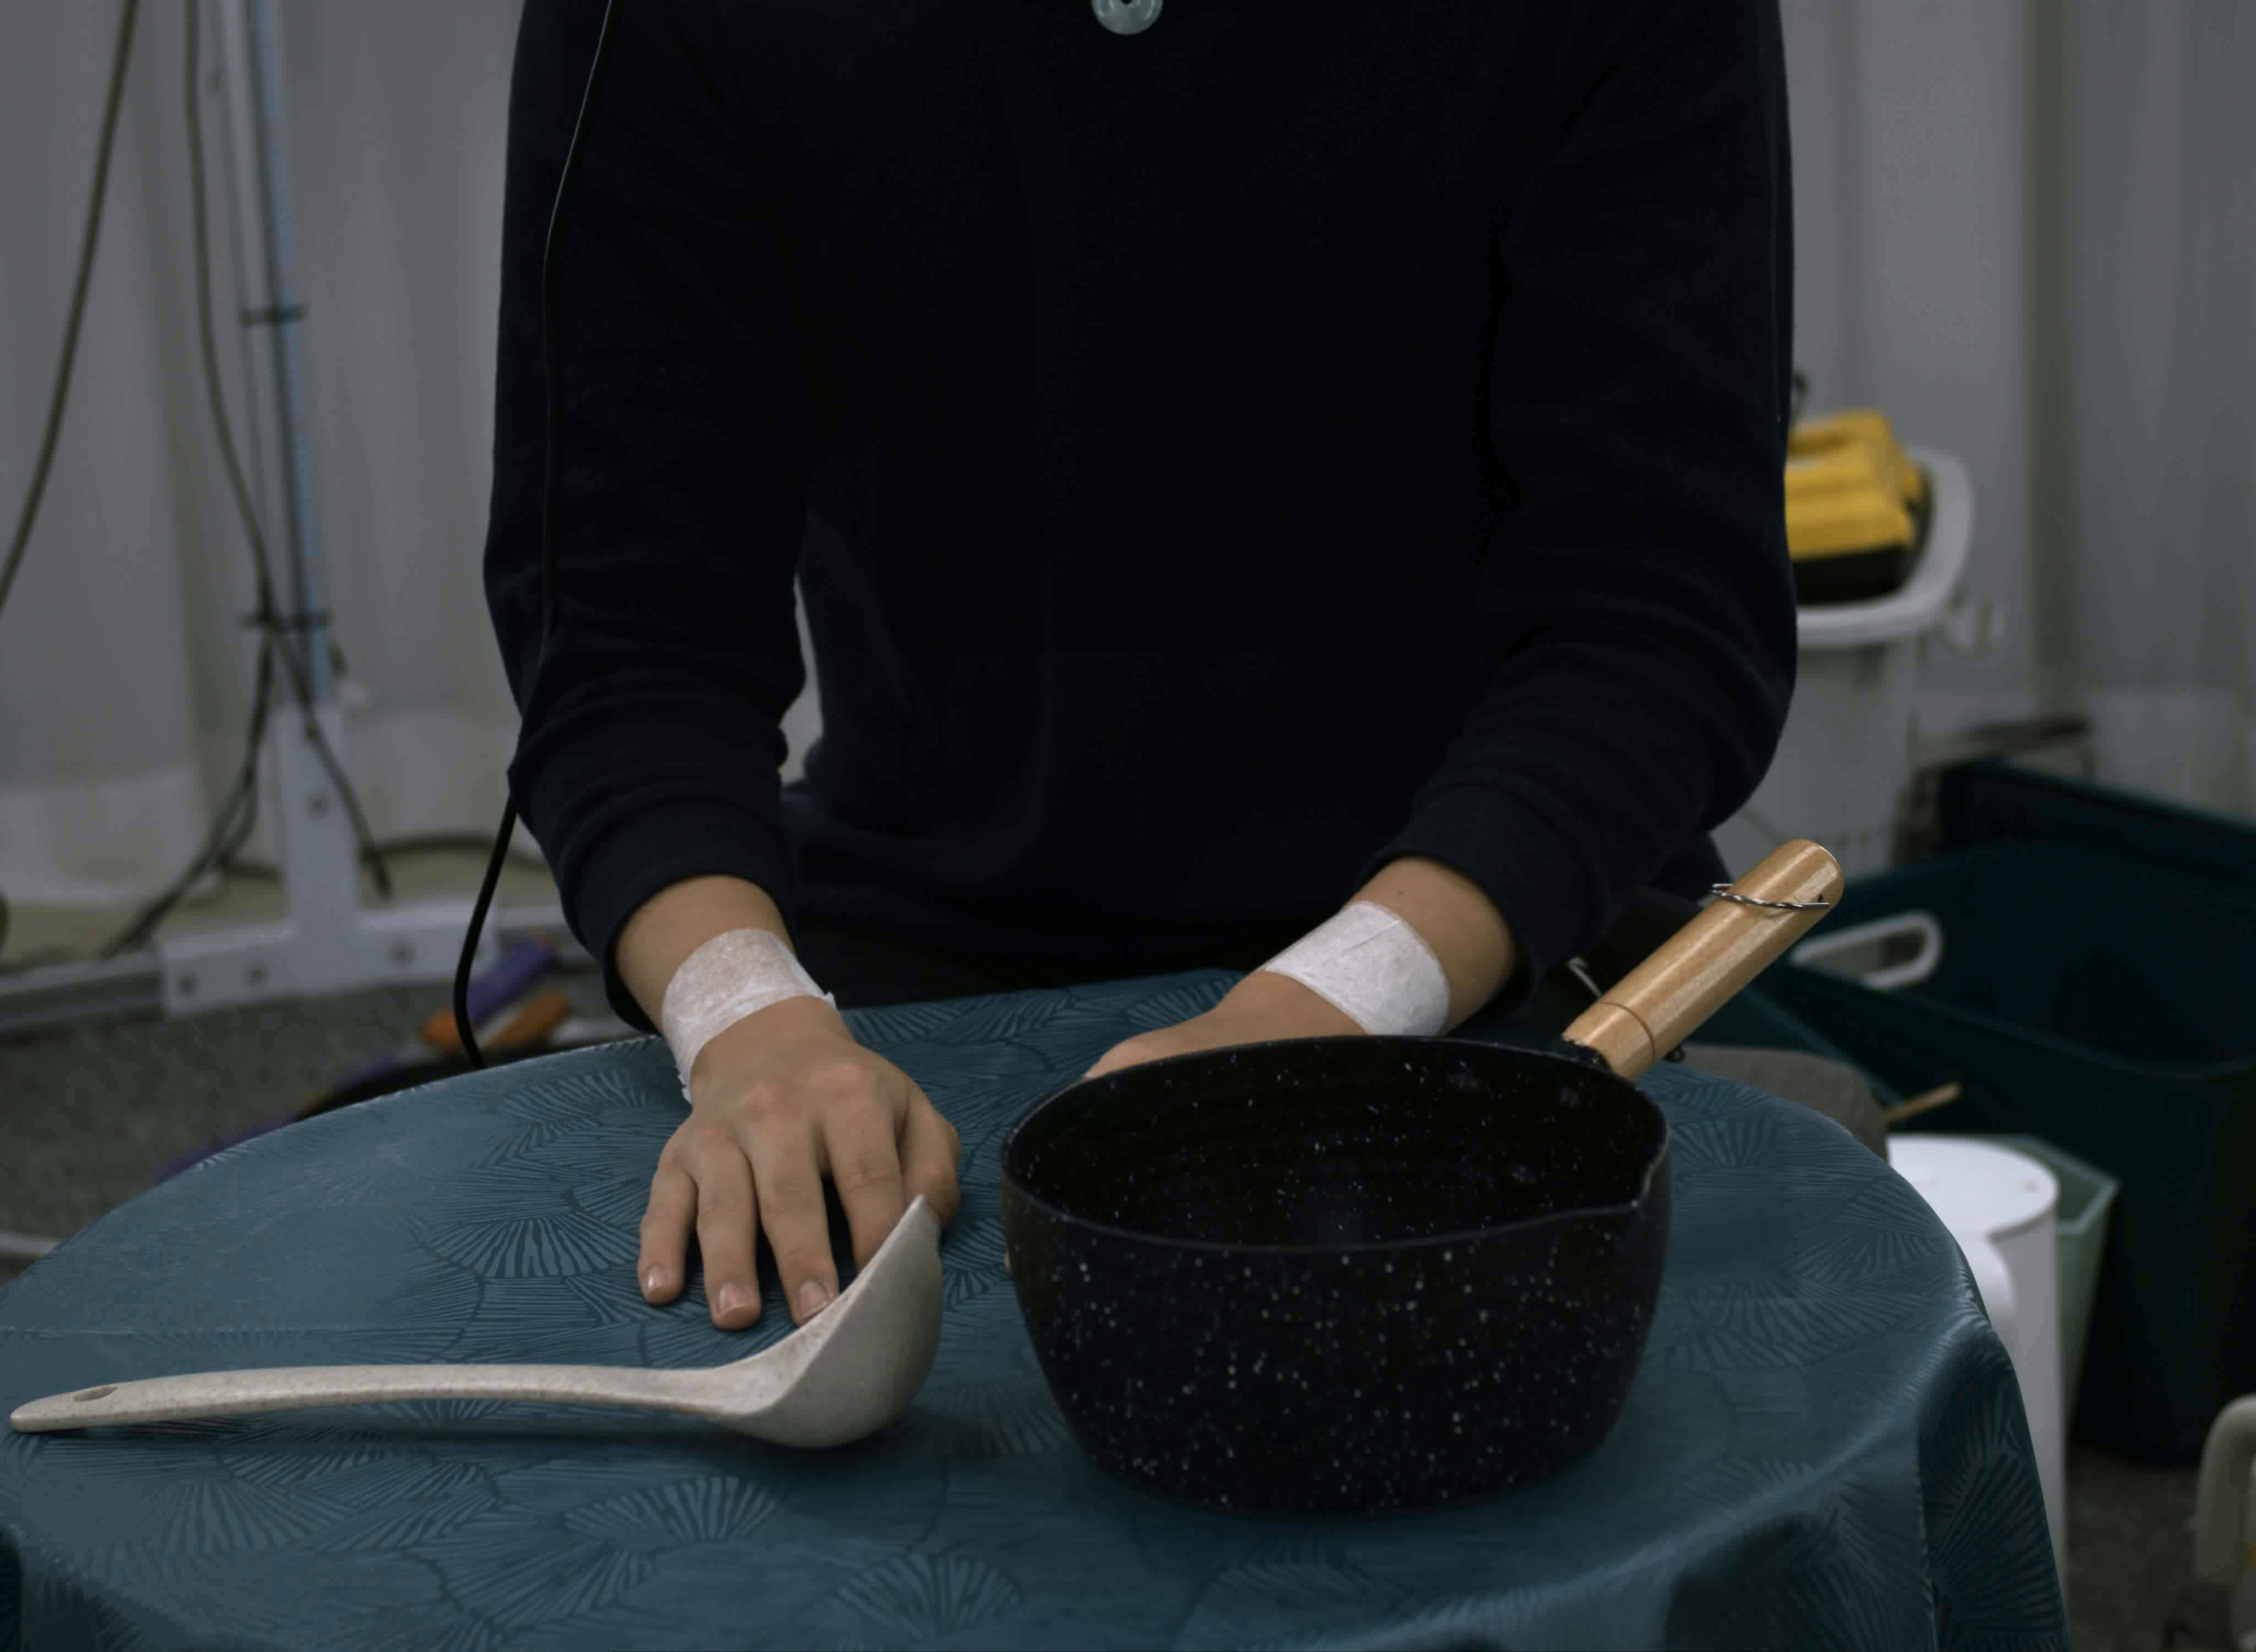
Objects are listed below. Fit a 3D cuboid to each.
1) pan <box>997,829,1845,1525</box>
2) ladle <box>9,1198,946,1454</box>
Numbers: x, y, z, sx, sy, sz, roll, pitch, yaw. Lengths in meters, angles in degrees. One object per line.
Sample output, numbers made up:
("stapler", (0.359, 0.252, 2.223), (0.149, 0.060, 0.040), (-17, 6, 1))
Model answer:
("pan", (0.106, 0.095, 1.561), (0.208, 0.108, 0.343), (7, 19, 37))
("ladle", (-0.186, 0.138, 1.532), (0.274, 0.069, 0.090), (0, 19, 10))
